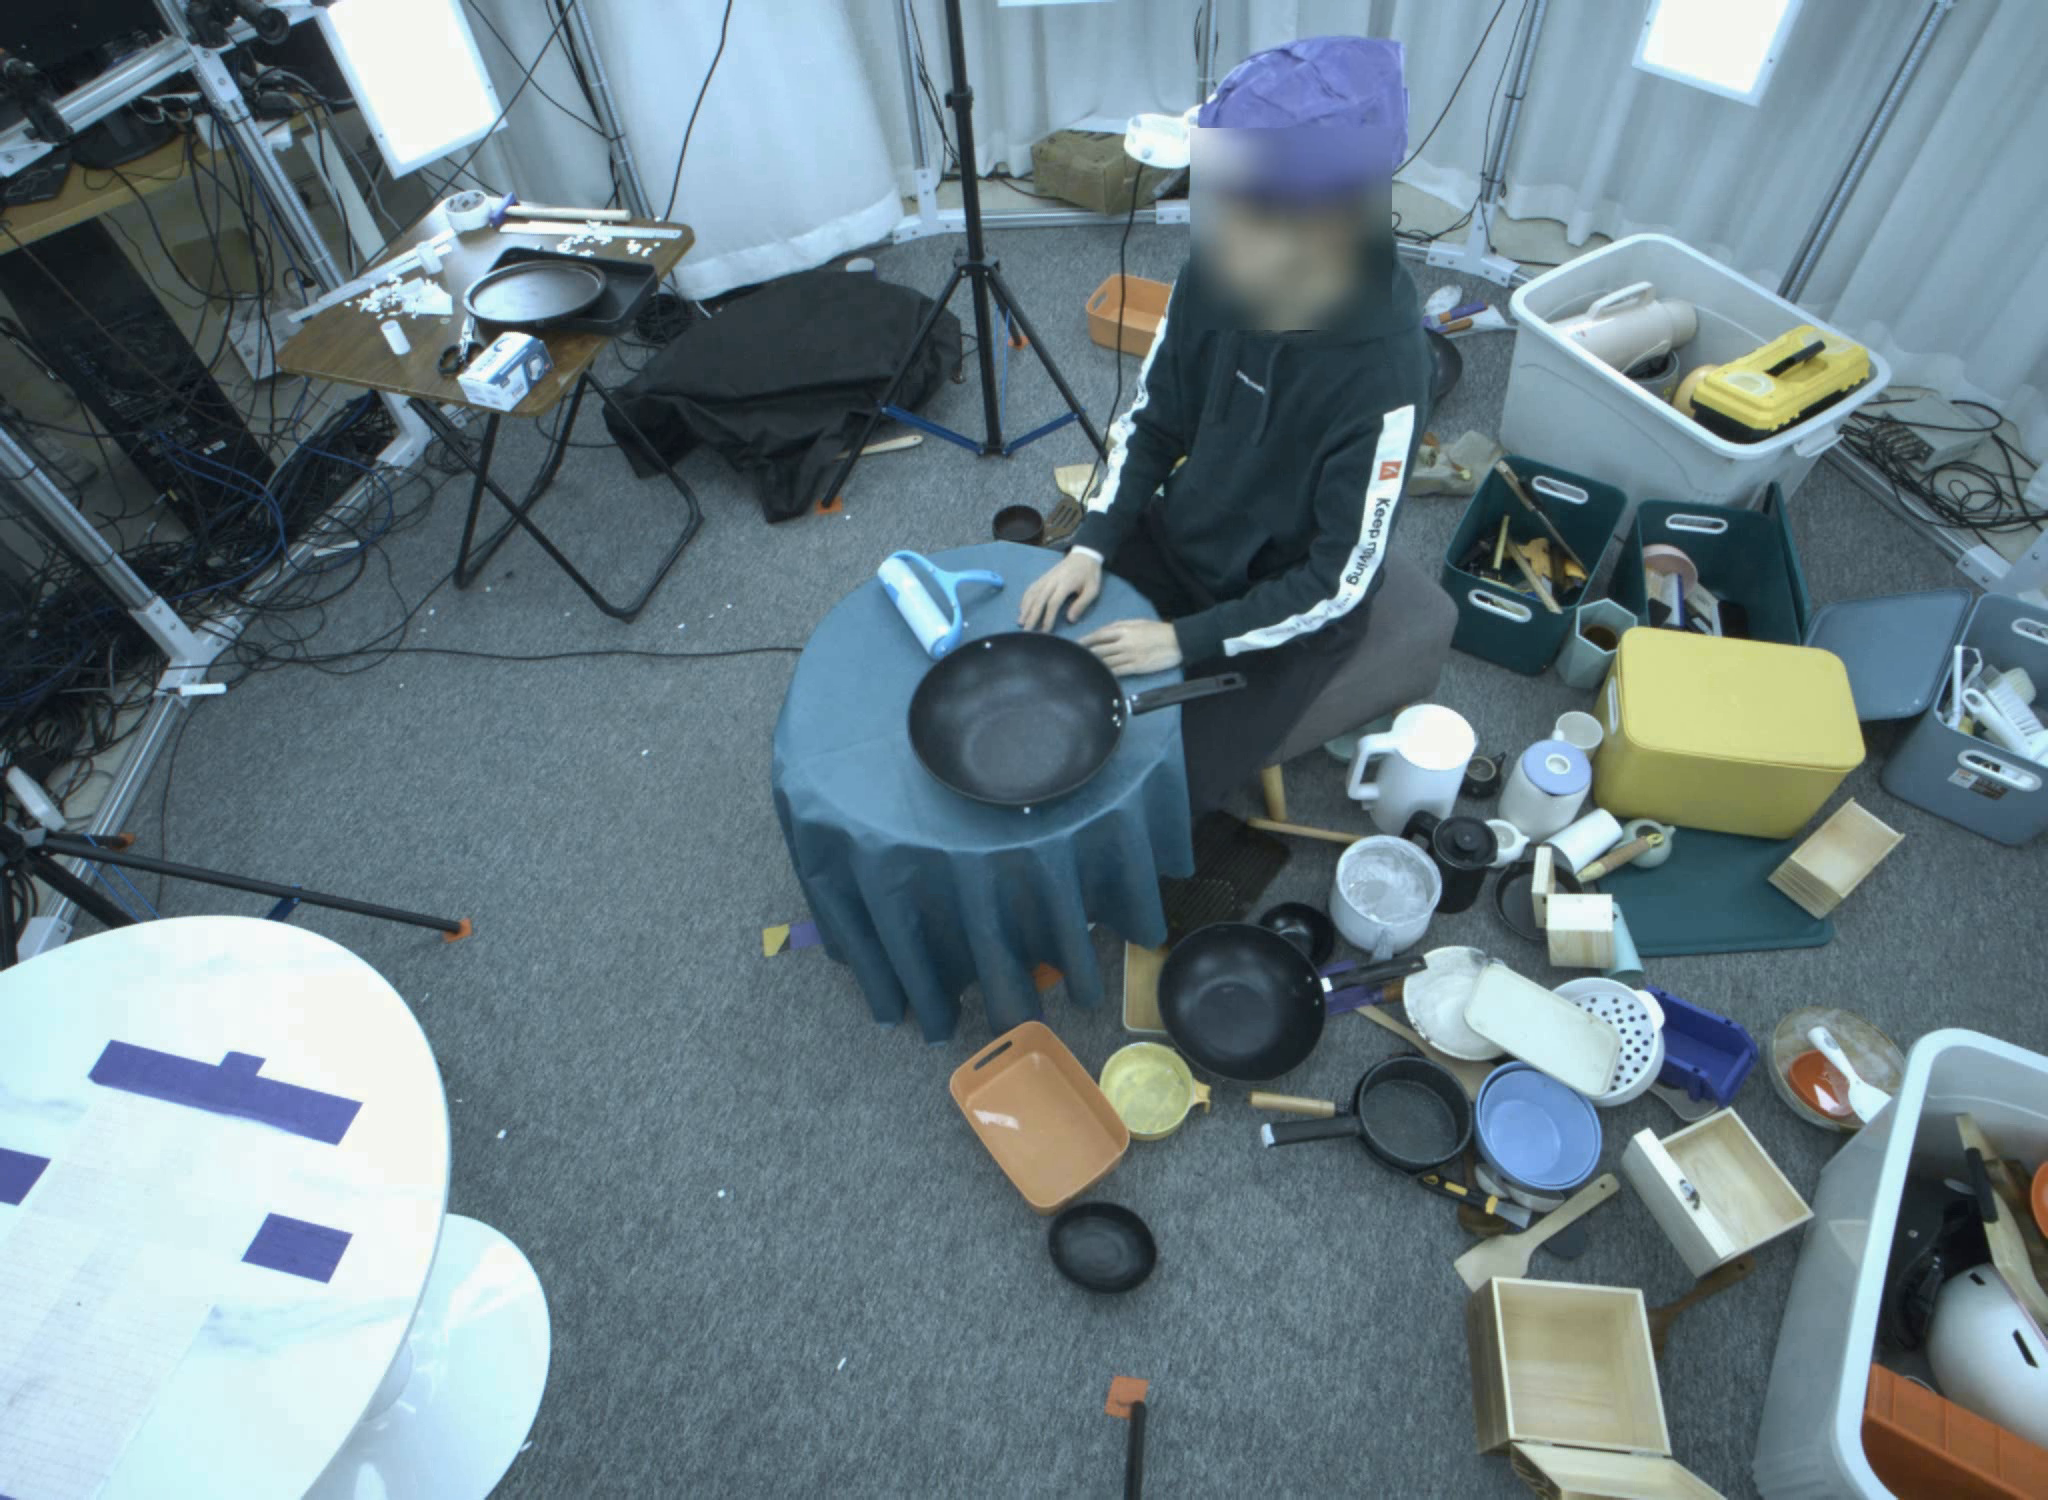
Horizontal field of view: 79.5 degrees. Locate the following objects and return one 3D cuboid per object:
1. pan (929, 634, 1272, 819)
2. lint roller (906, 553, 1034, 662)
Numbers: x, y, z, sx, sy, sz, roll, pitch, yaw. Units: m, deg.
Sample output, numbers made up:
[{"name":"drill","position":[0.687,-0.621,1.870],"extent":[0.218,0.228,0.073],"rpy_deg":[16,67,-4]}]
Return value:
[{"name":"pan","position":[0.107,-0.033,1.737],"extent":[0.477,0.113,0.306],"rpy_deg":[-4,56,-1]},{"name":"lint roller","position":[-0.070,-0.247,1.926],"extent":[0.181,0.069,0.224],"rpy_deg":[-28,56,-15]}]
